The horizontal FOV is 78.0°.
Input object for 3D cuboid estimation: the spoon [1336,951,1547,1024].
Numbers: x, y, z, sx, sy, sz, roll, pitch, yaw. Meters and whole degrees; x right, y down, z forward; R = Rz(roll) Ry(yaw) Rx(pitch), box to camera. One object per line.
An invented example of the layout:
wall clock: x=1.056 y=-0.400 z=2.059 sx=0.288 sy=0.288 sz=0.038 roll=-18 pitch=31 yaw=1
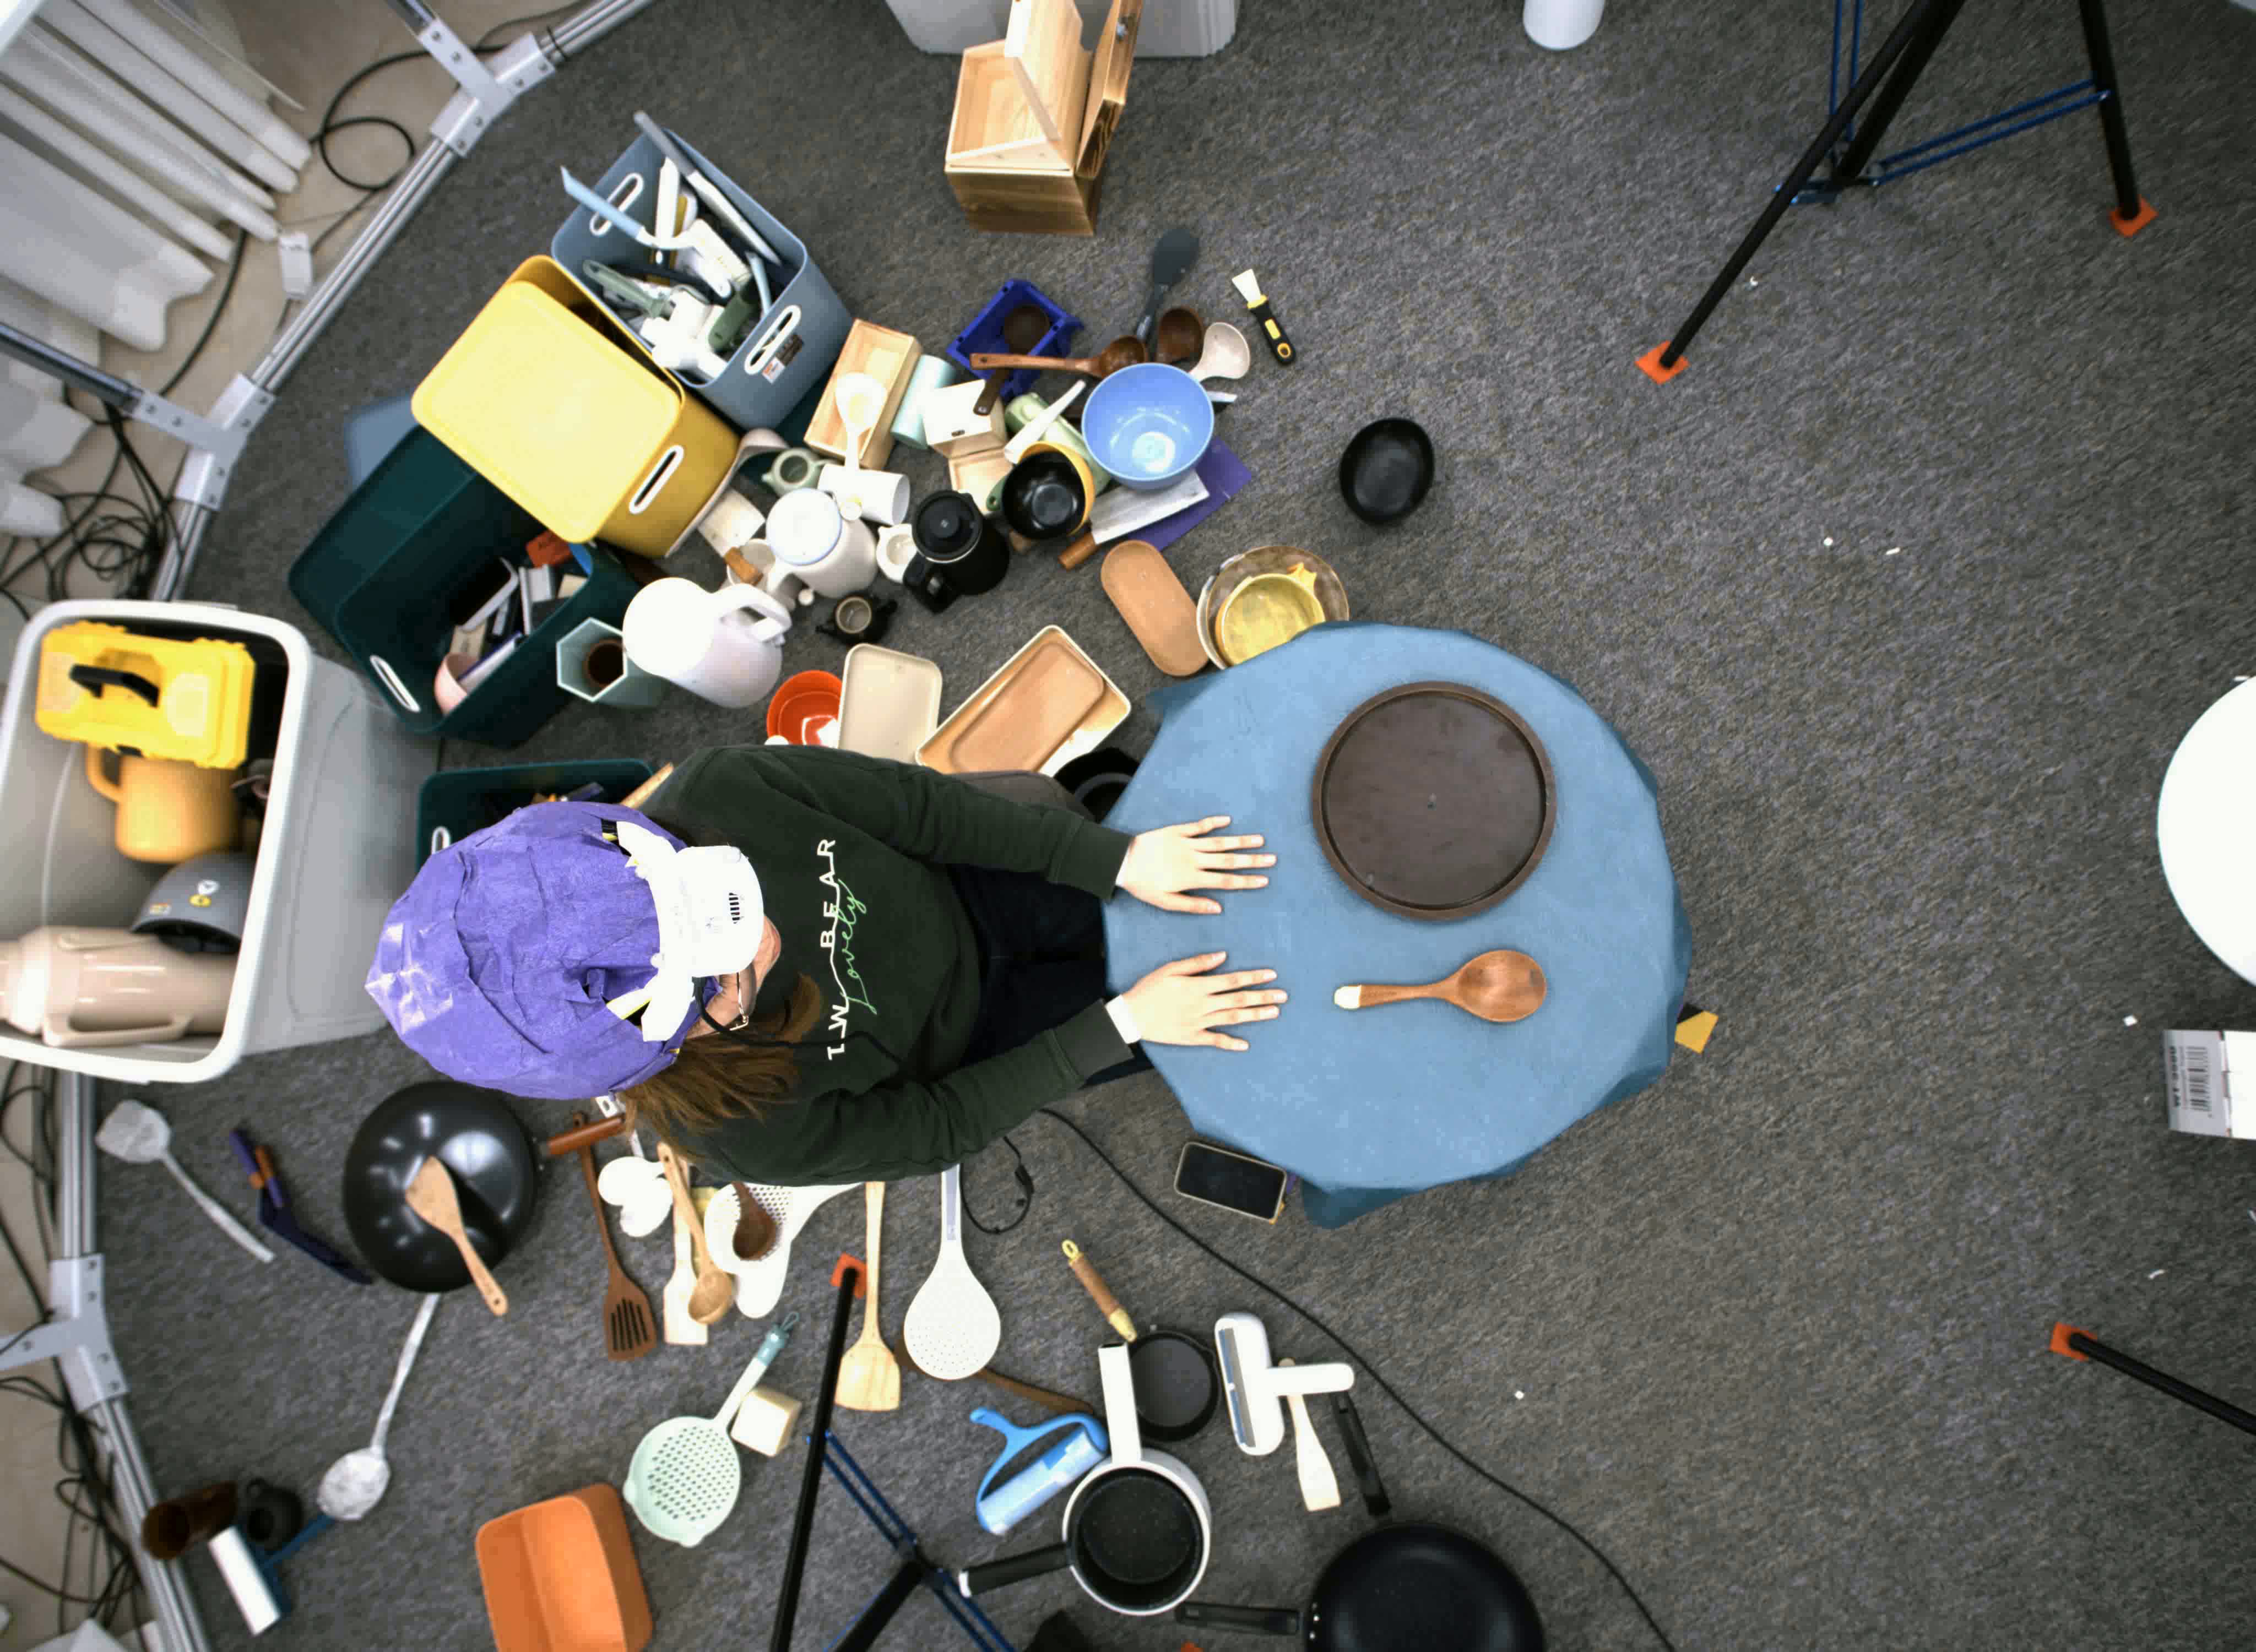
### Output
spoon: x=0.325 y=0.172 z=1.439 sx=0.217 sy=0.017 sz=0.075 roll=-6 pitch=85 yaw=10

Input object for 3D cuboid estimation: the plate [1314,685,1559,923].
plate: x=0.323 y=-0.026 z=1.450 sx=0.256 sy=0.029 sz=0.253 roll=-1 pitch=85 yaw=10
